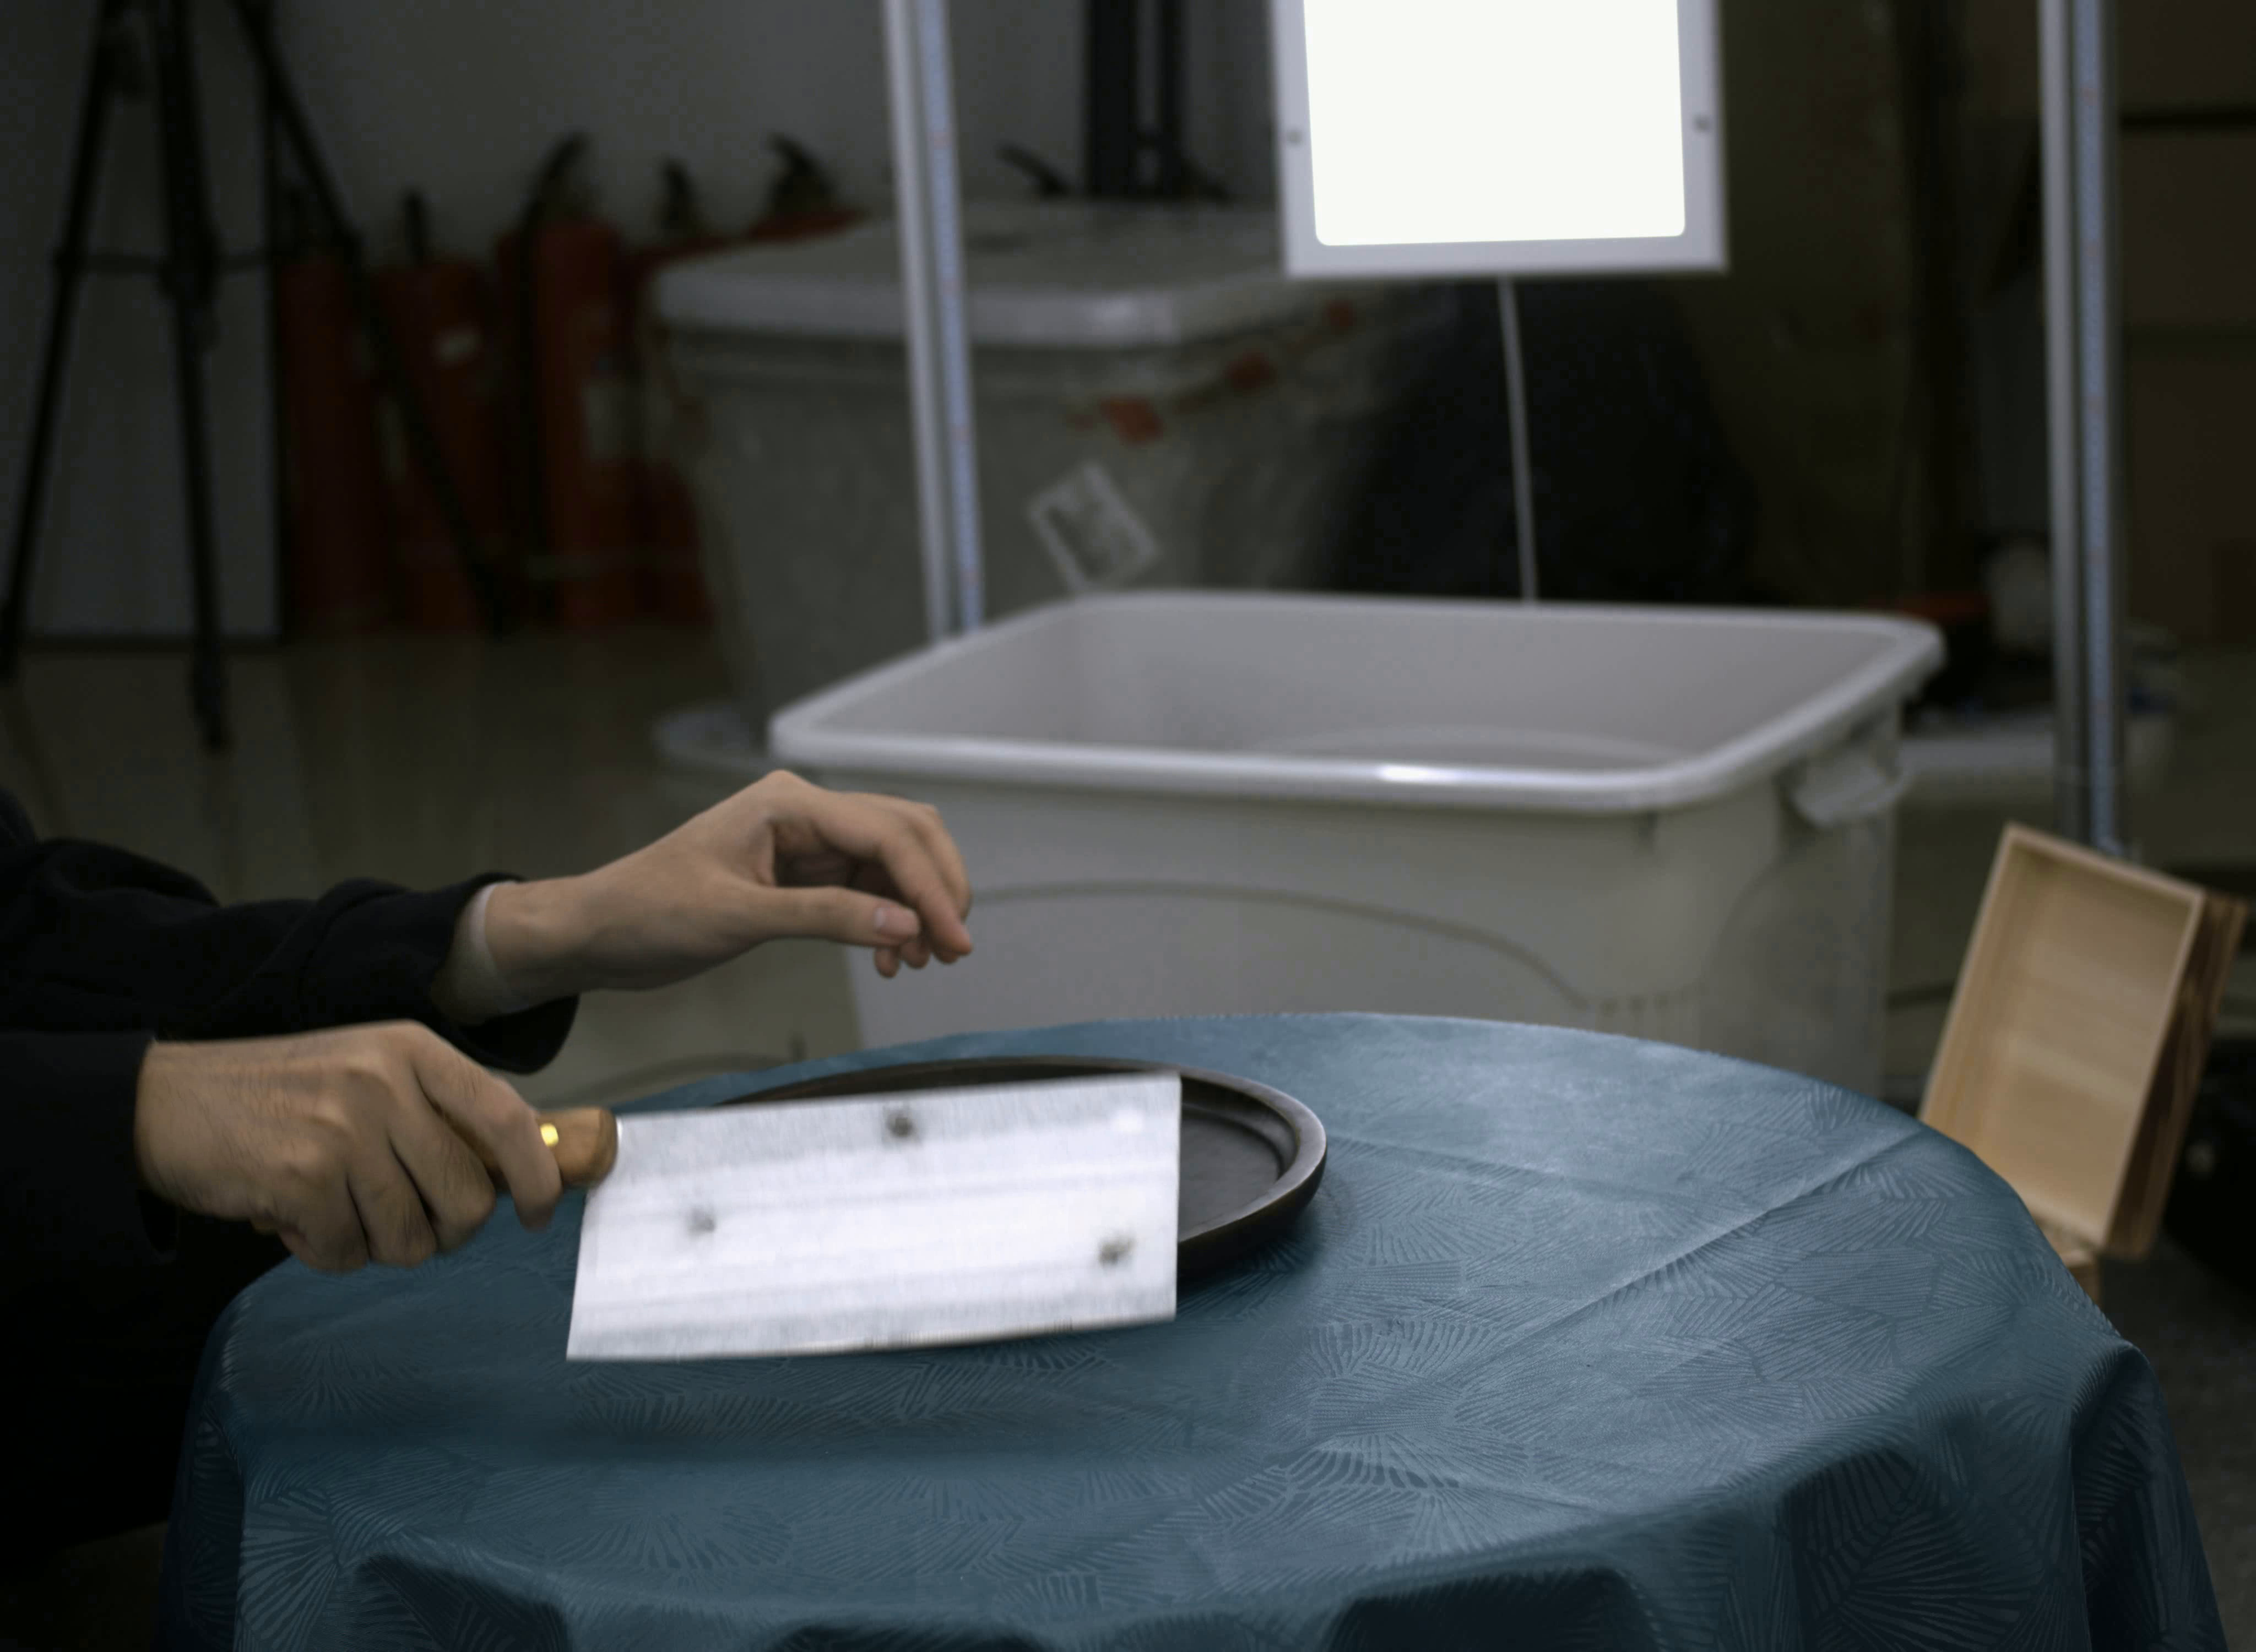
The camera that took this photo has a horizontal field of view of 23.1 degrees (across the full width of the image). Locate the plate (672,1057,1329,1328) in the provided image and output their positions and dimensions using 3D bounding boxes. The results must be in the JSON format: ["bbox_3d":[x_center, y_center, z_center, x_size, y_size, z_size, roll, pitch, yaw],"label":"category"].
[{"bbox_3d":[-0.057,0.123,1.878,0.254,0.029,0.254,-4,12,0],"label":"plate"}]

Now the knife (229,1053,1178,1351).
[{"bbox_3d":[-0.135,0.120,1.711,0.307,0.021,0.092,-6,54,11],"label":"knife"}]
